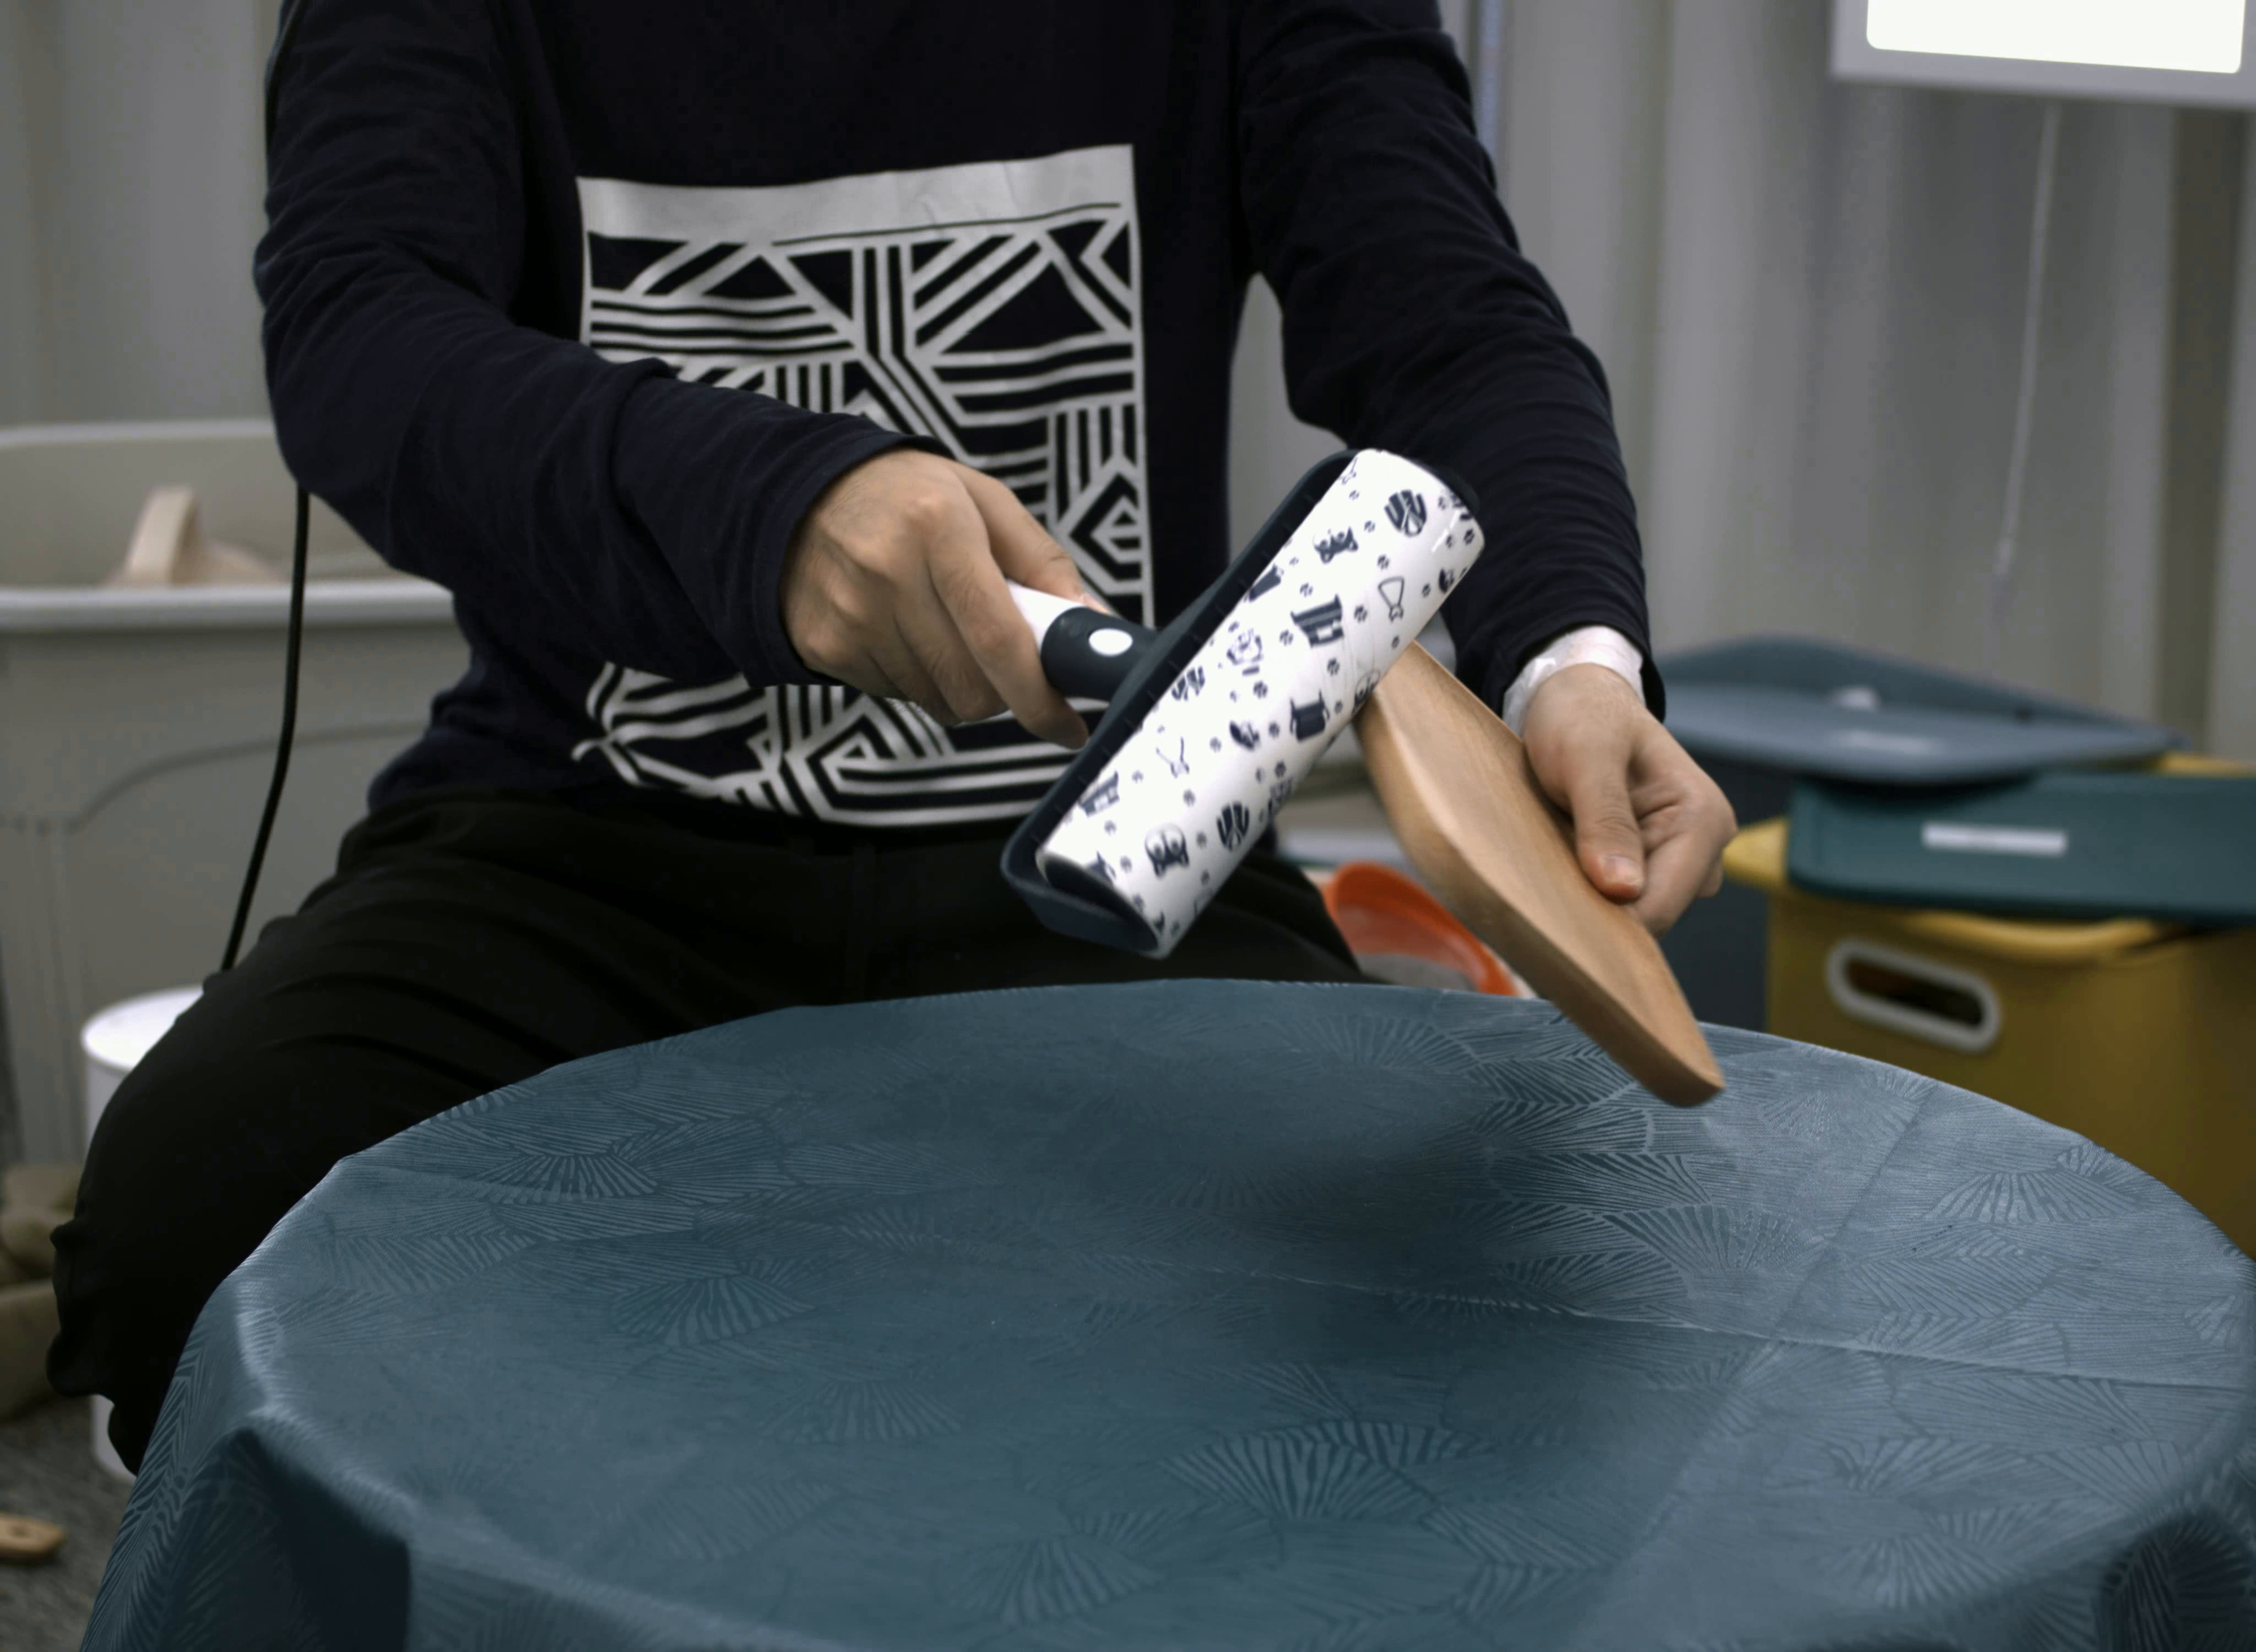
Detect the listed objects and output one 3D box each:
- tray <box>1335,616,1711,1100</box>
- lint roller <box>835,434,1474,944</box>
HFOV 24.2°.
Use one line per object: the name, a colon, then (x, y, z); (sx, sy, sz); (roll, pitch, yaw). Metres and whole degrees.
tray: (0.109, -0.001, 1.578); (0.023, 0.131, 0.248); (-41, 18, 9)
lint roller: (-0.023, -0.056, 1.610); (0.244, 0.051, 0.176); (16, 63, 51)
